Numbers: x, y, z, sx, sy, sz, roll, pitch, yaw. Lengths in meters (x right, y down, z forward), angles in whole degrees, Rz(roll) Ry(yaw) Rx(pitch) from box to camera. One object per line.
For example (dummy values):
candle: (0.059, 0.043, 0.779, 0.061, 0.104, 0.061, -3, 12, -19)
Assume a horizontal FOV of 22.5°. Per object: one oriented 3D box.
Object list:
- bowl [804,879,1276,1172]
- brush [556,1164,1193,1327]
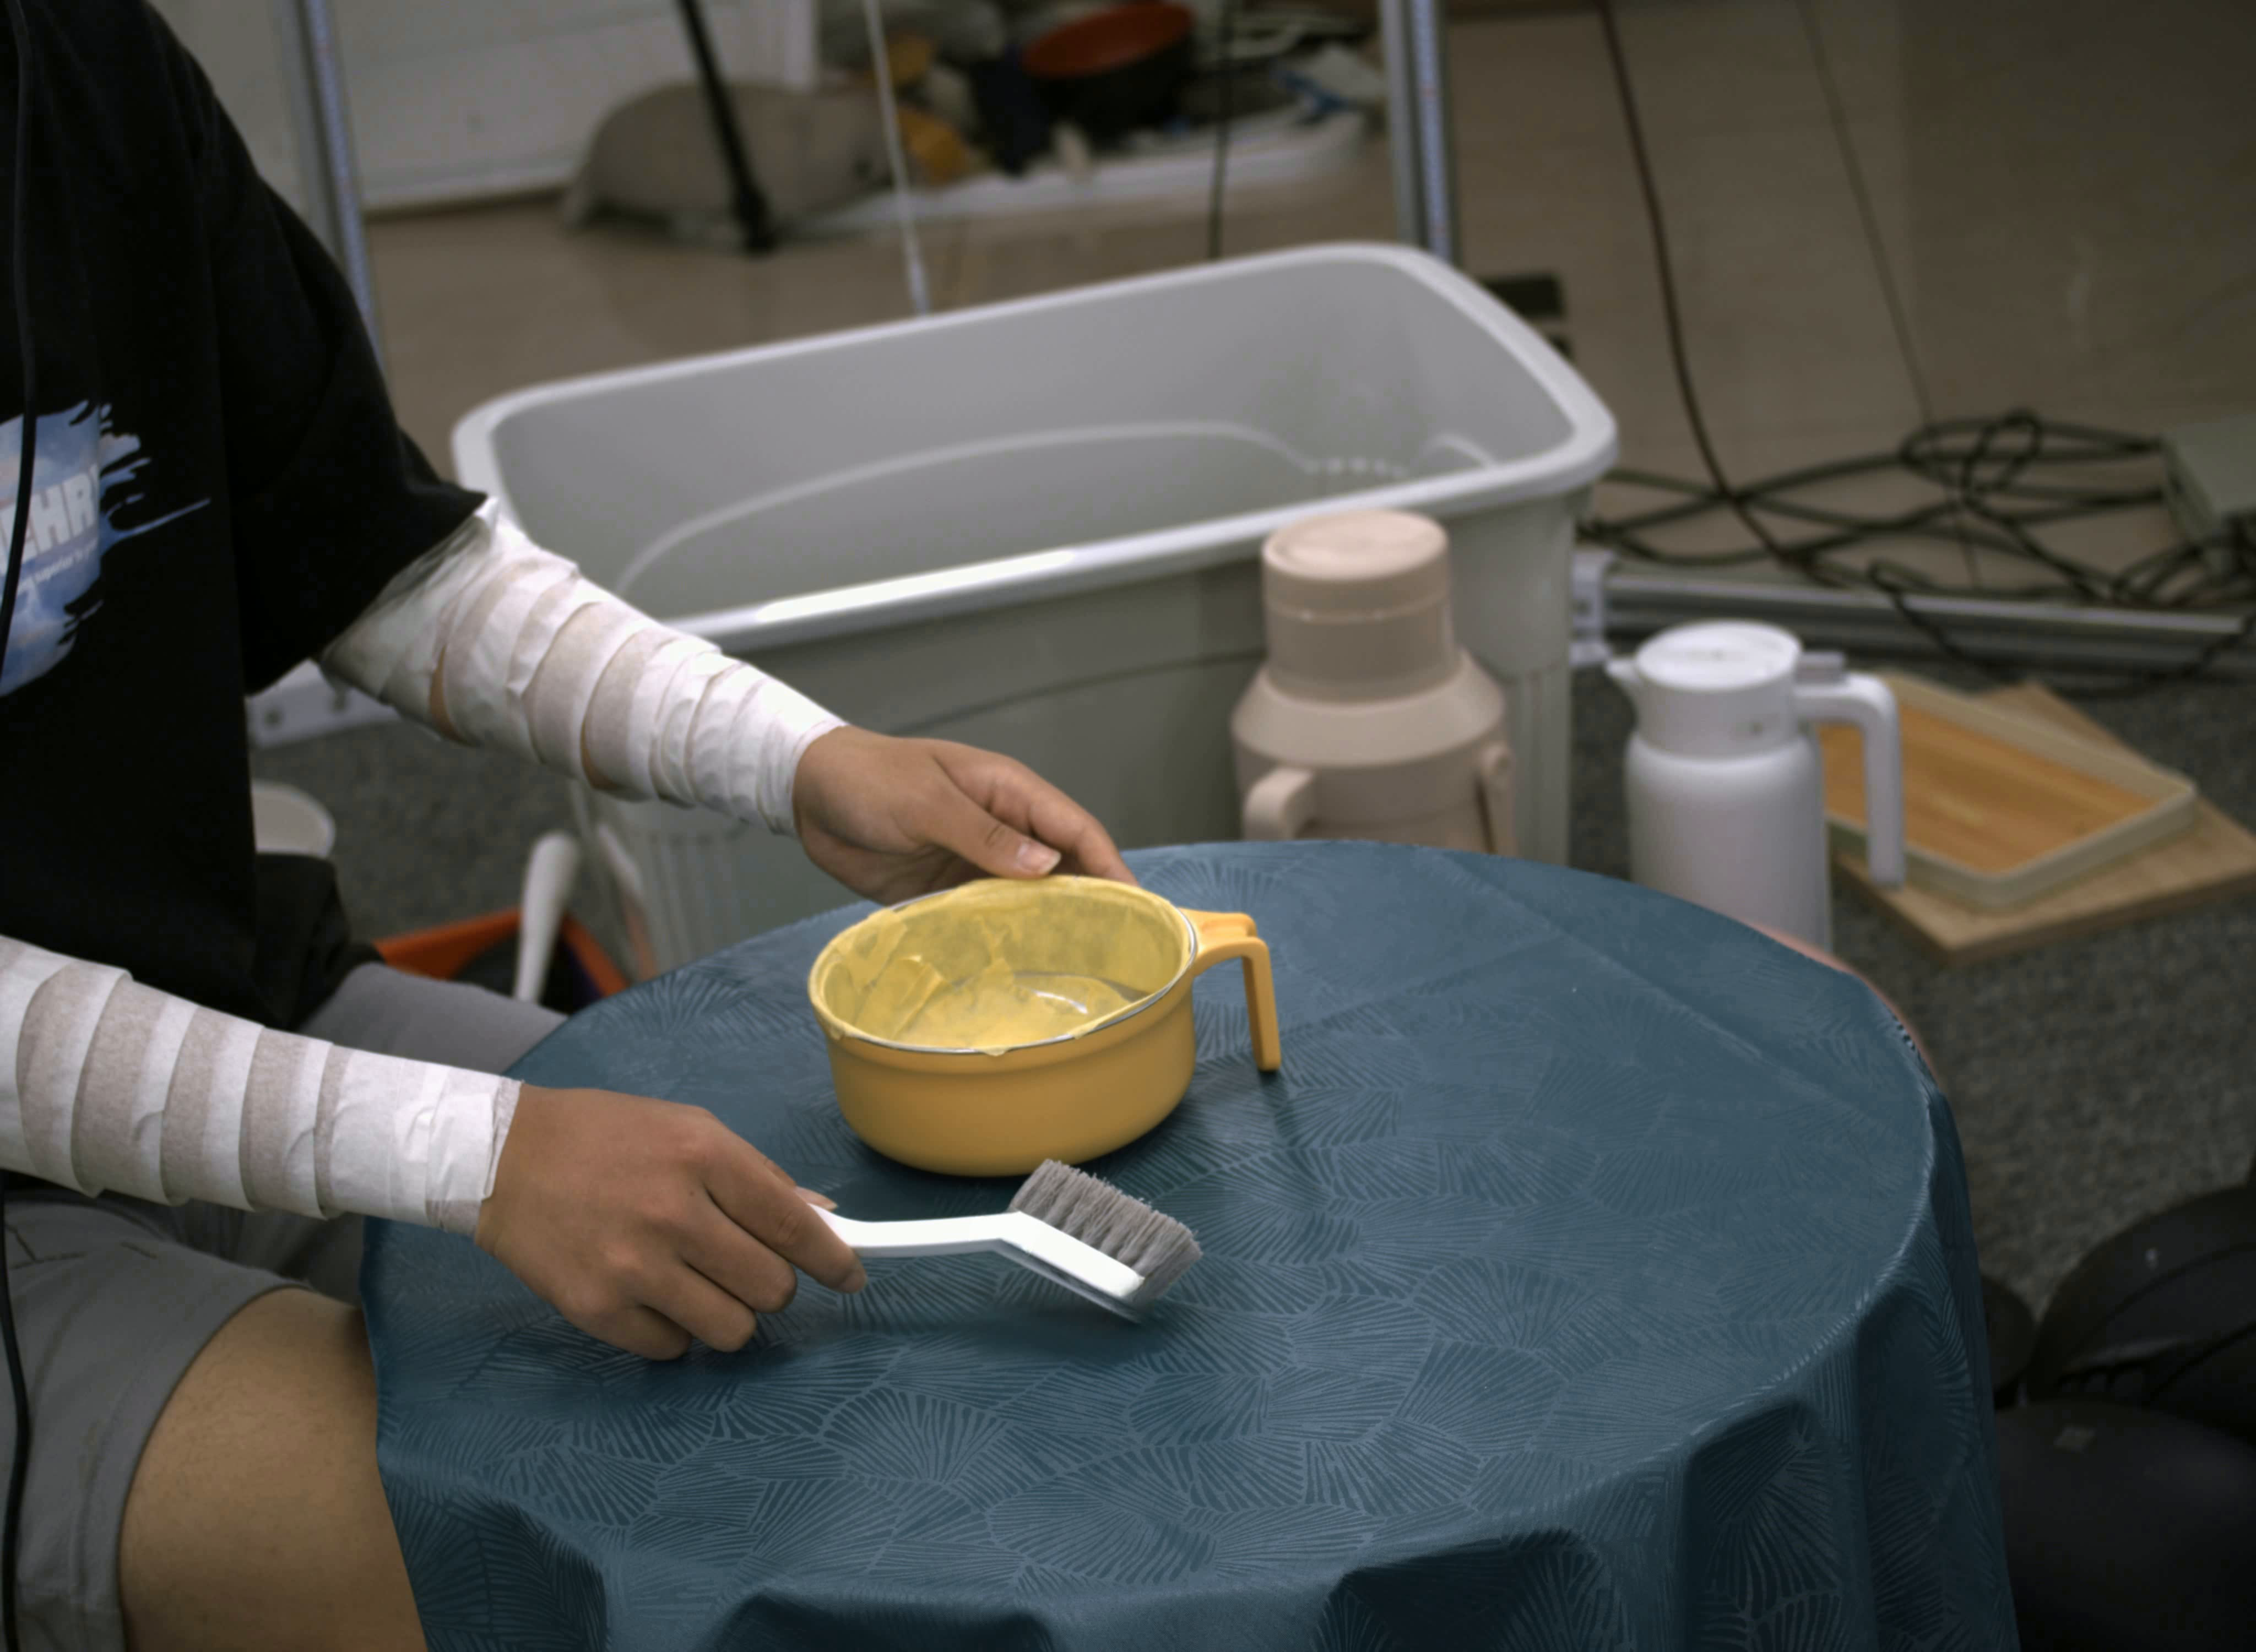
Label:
bowl: (-0.033, 0.079, 2.203, 0.179, 0.075, 0.151, -11, 20, -10)
brush: (-0.094, 0.140, 2.080, 0.243, 0.035, 0.050, 8, 71, 19)
